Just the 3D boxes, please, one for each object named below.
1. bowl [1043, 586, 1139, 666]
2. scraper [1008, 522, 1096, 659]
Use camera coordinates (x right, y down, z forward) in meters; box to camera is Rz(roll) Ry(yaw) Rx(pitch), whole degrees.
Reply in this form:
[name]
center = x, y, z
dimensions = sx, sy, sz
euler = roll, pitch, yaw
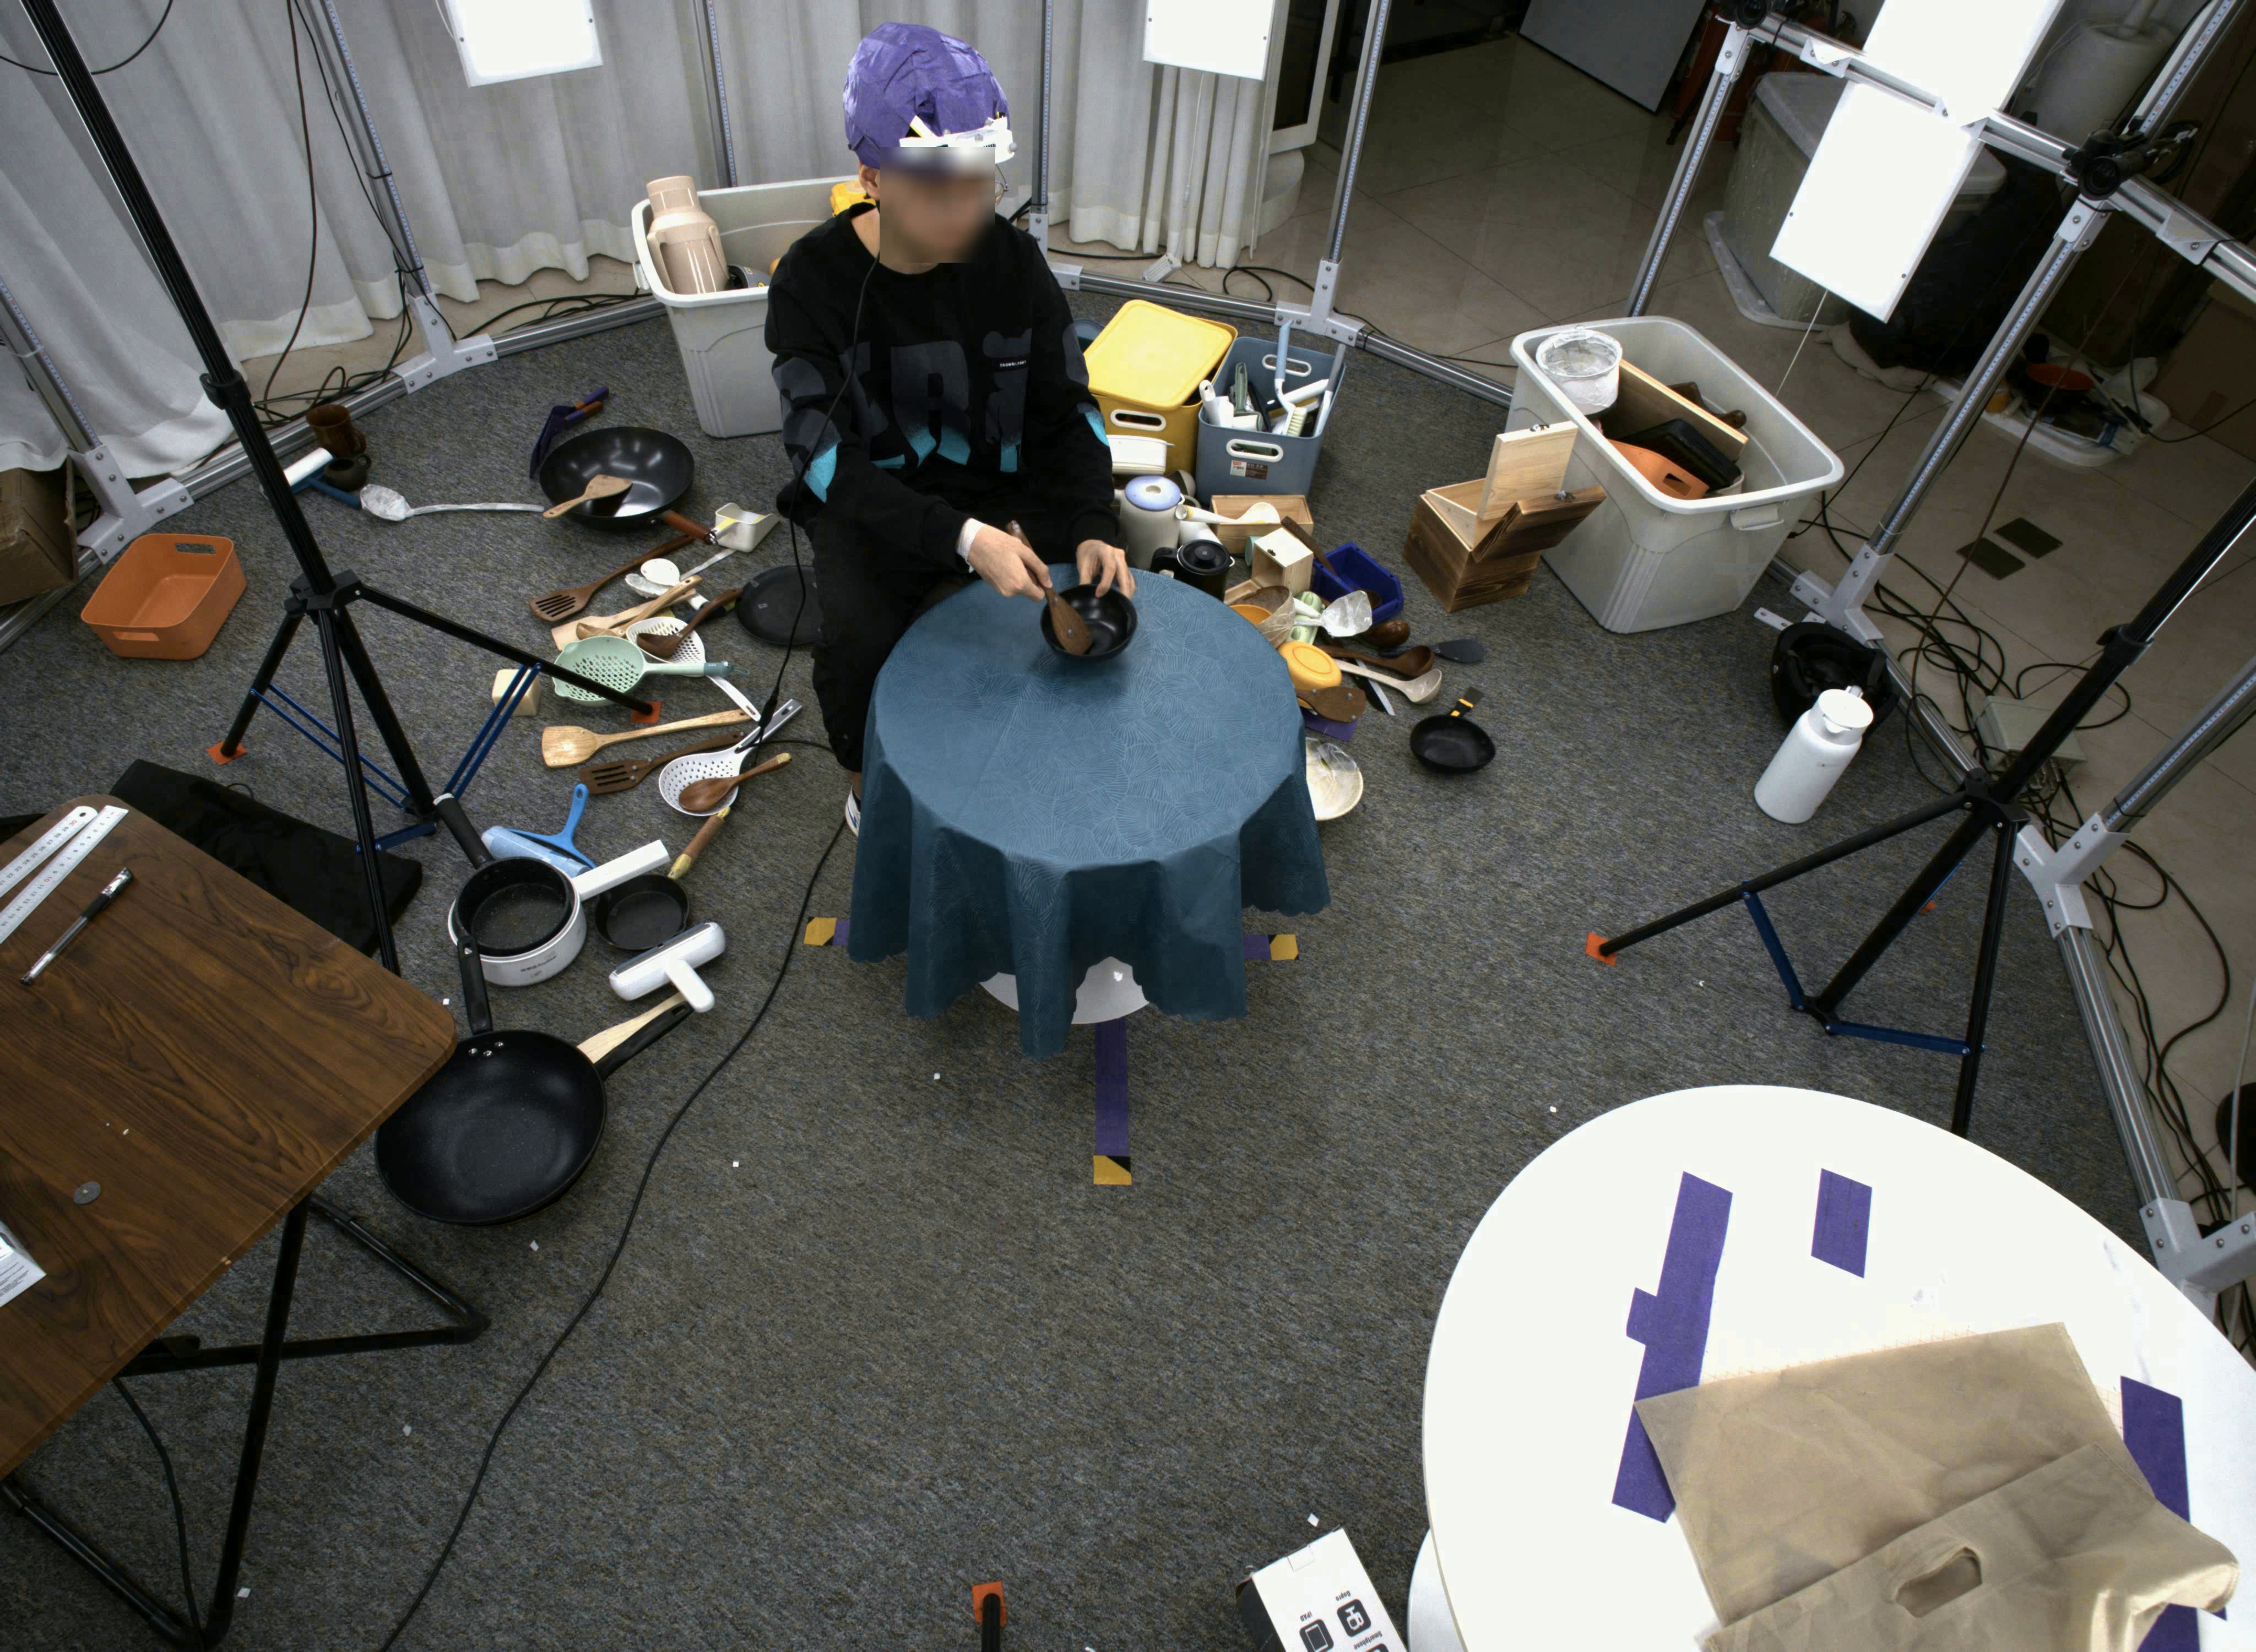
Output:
[bowl]
center = -0.053, -0.282, 1.867
dimensions = 0.140, 0.048, 0.143
euler = -1, 55, 2
[scraper]
center = -0.111, -0.335, 1.830
dimensions = 0.011, 0.209, 0.077
euler = -19, 19, 35
